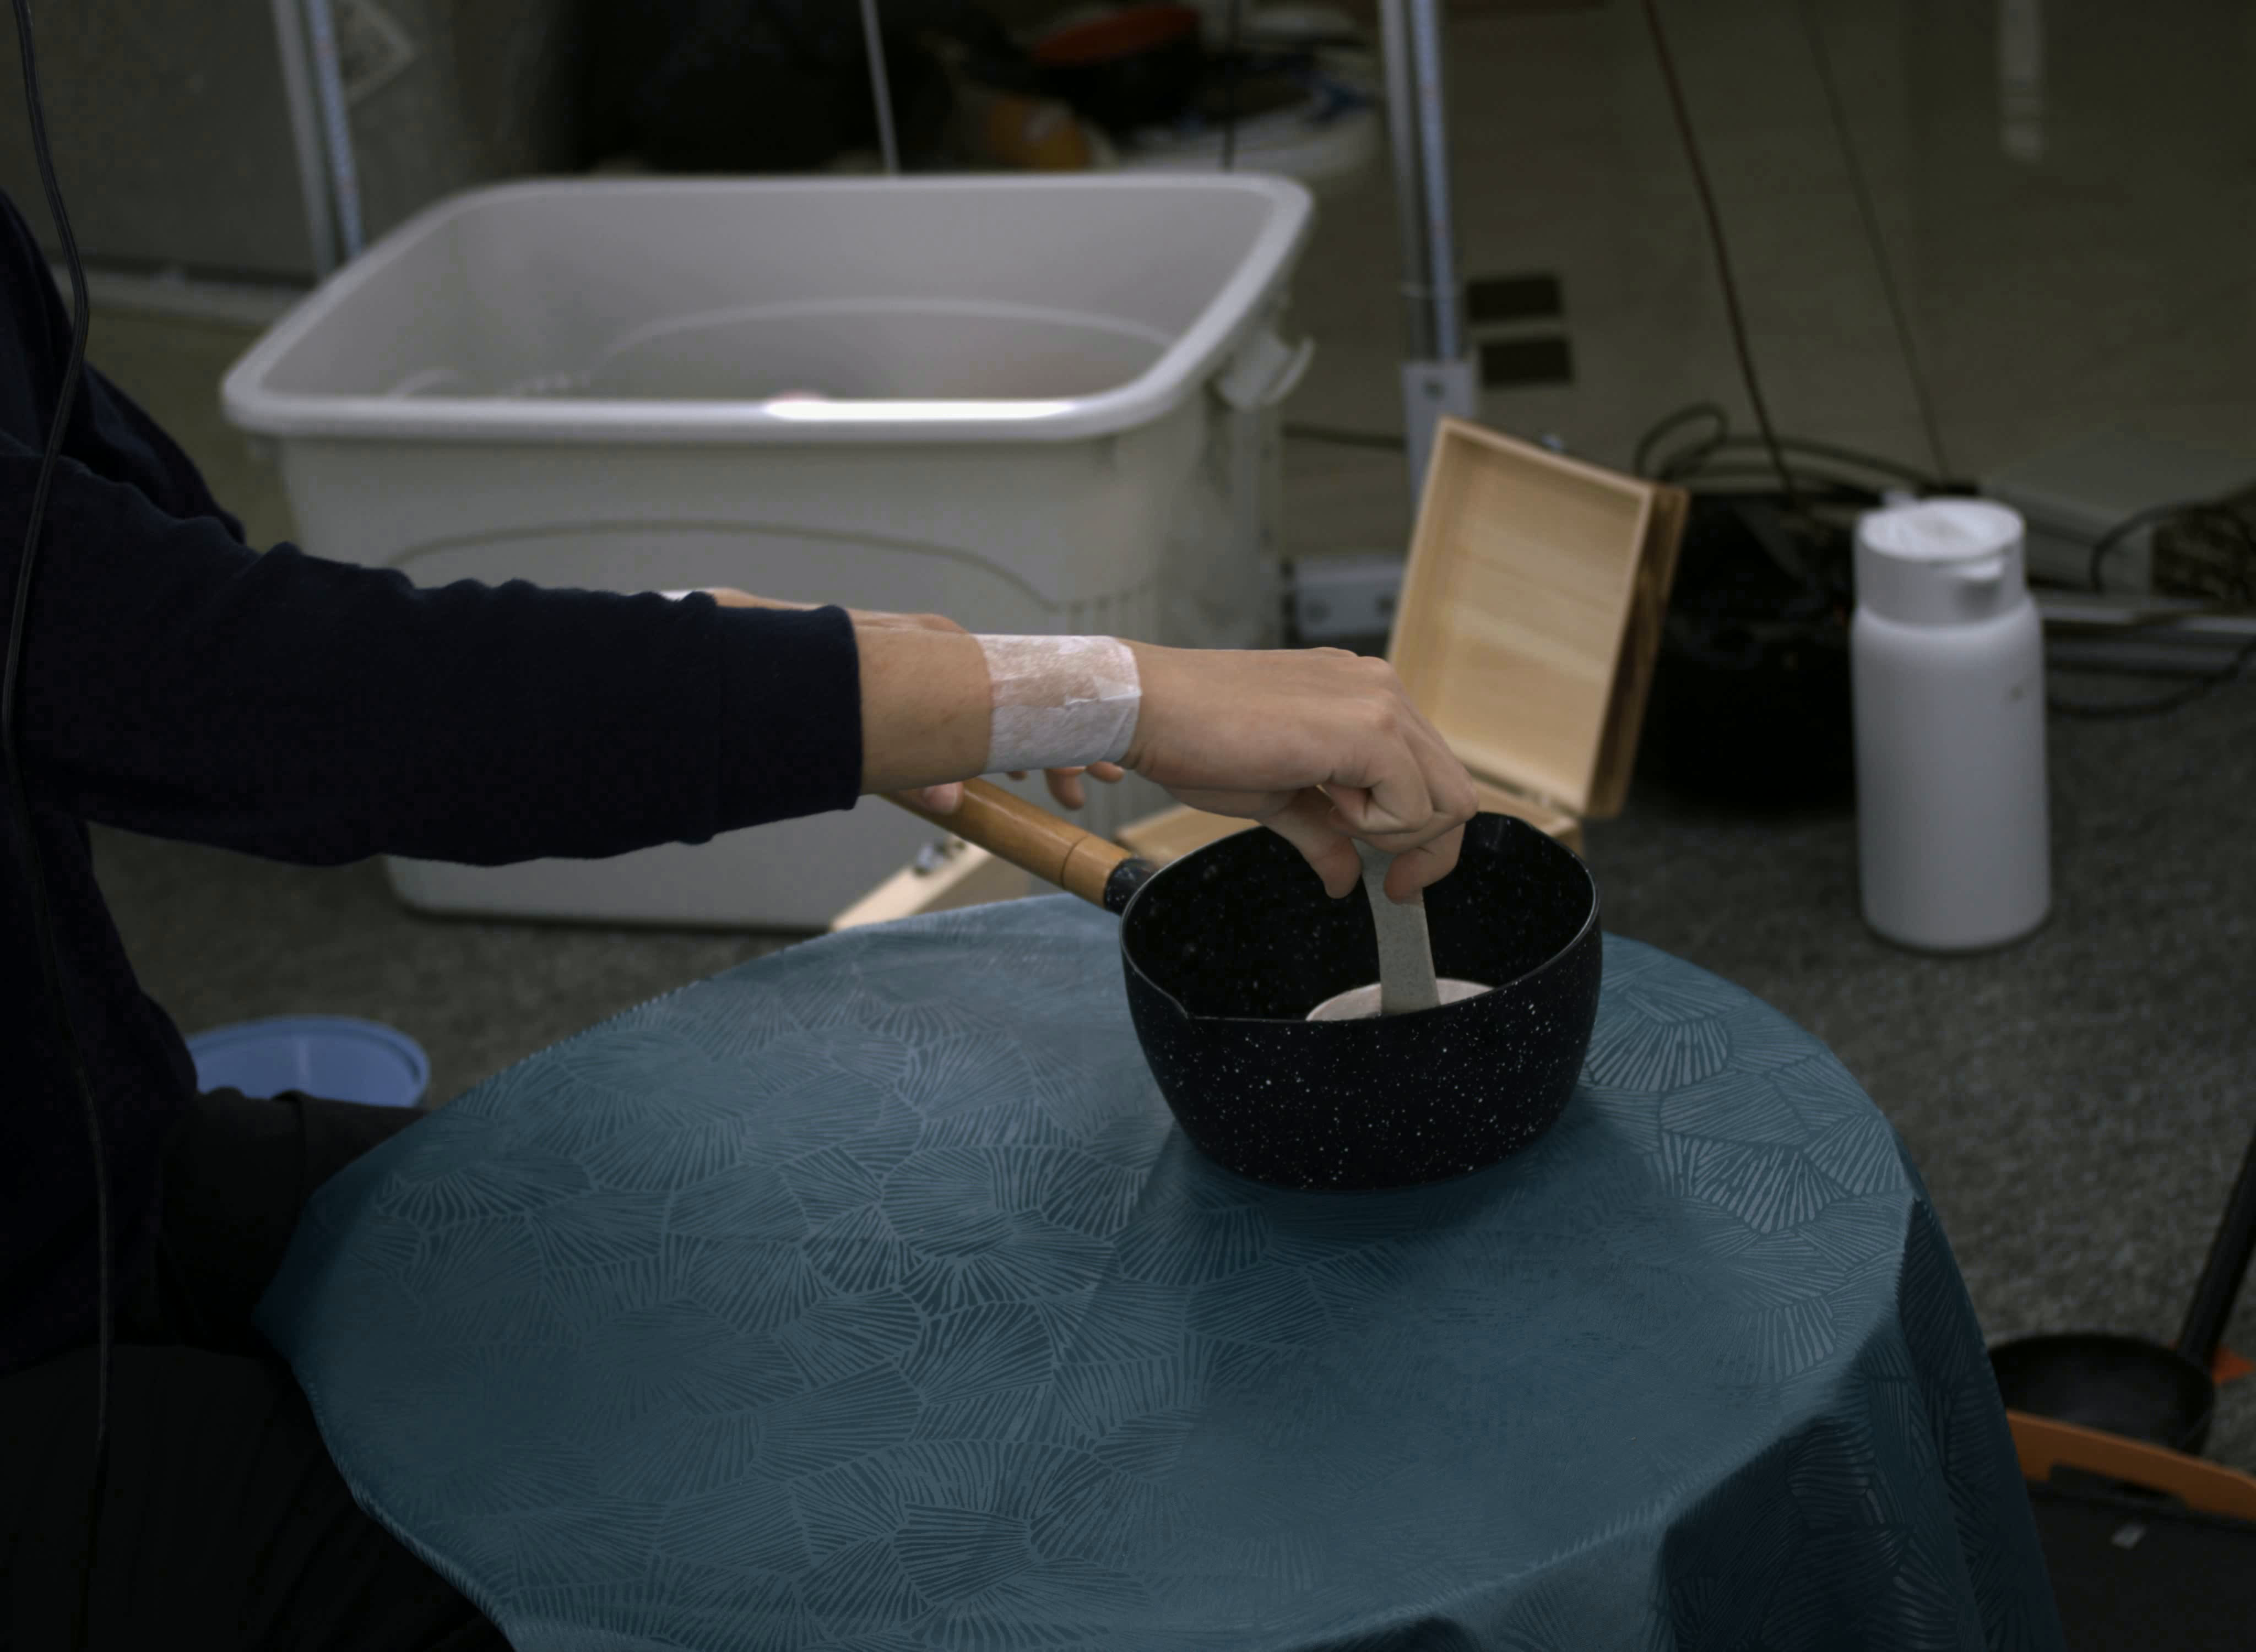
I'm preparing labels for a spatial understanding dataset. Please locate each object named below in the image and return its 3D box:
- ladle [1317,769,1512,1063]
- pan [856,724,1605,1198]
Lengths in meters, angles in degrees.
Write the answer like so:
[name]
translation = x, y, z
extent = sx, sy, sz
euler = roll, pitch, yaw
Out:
[ladle]
translation = 0.099, 0.022, 2.044
extent = 0.089, 0.279, 0.068
euler = 4, 62, 10
[pan]
translation = 0.029, 0.044, 2.213
extent = 0.340, 0.110, 0.205
euler = 15, 34, 35
